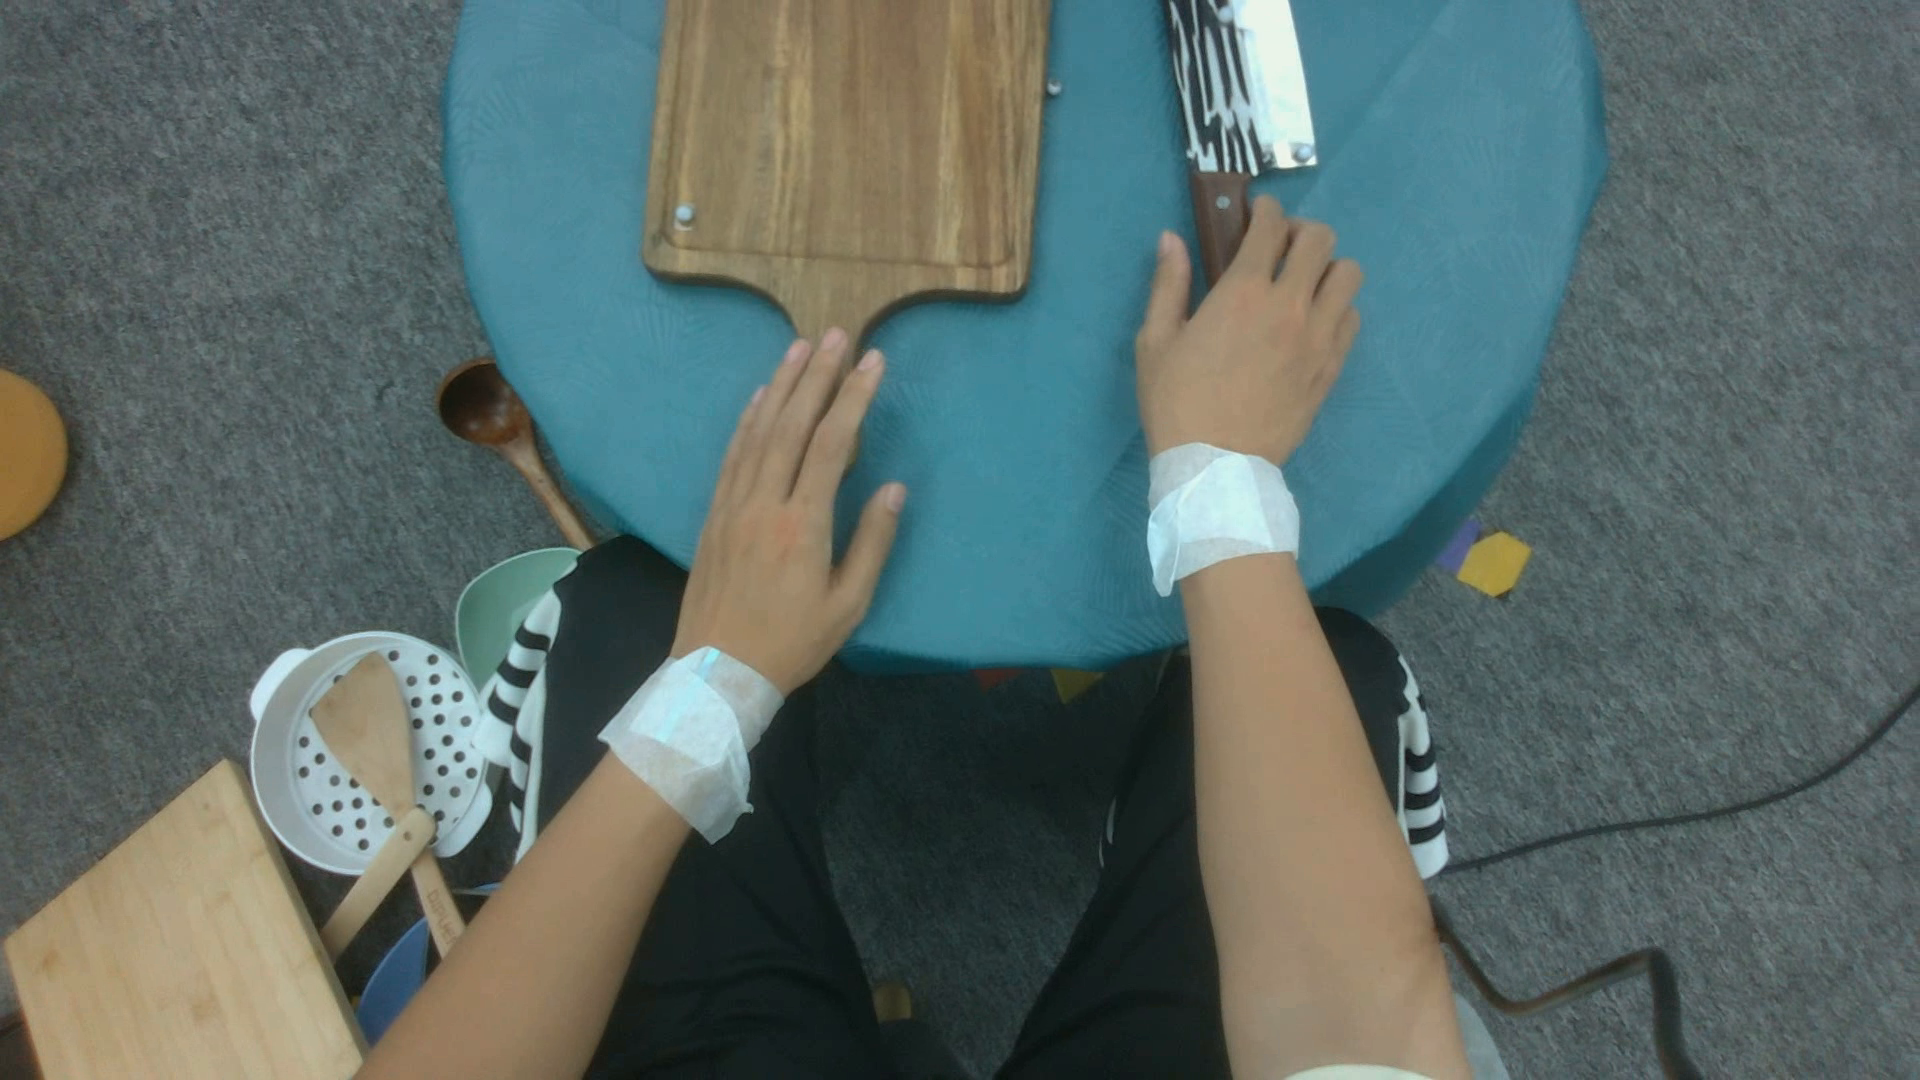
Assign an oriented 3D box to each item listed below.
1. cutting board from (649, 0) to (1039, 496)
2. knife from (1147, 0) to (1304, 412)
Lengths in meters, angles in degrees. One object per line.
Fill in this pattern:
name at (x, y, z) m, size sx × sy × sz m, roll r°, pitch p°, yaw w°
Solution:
cutting board at (-0.061, -0.198, 0.724) m, size 0.201 × 0.023 × 0.352 m, roll 2°, pitch 82°, yaw 0°
knife at (0.143, -0.213, 0.721) m, size 0.068 × 0.024 × 0.300 m, roll -7°, pitch 79°, yaw -2°
